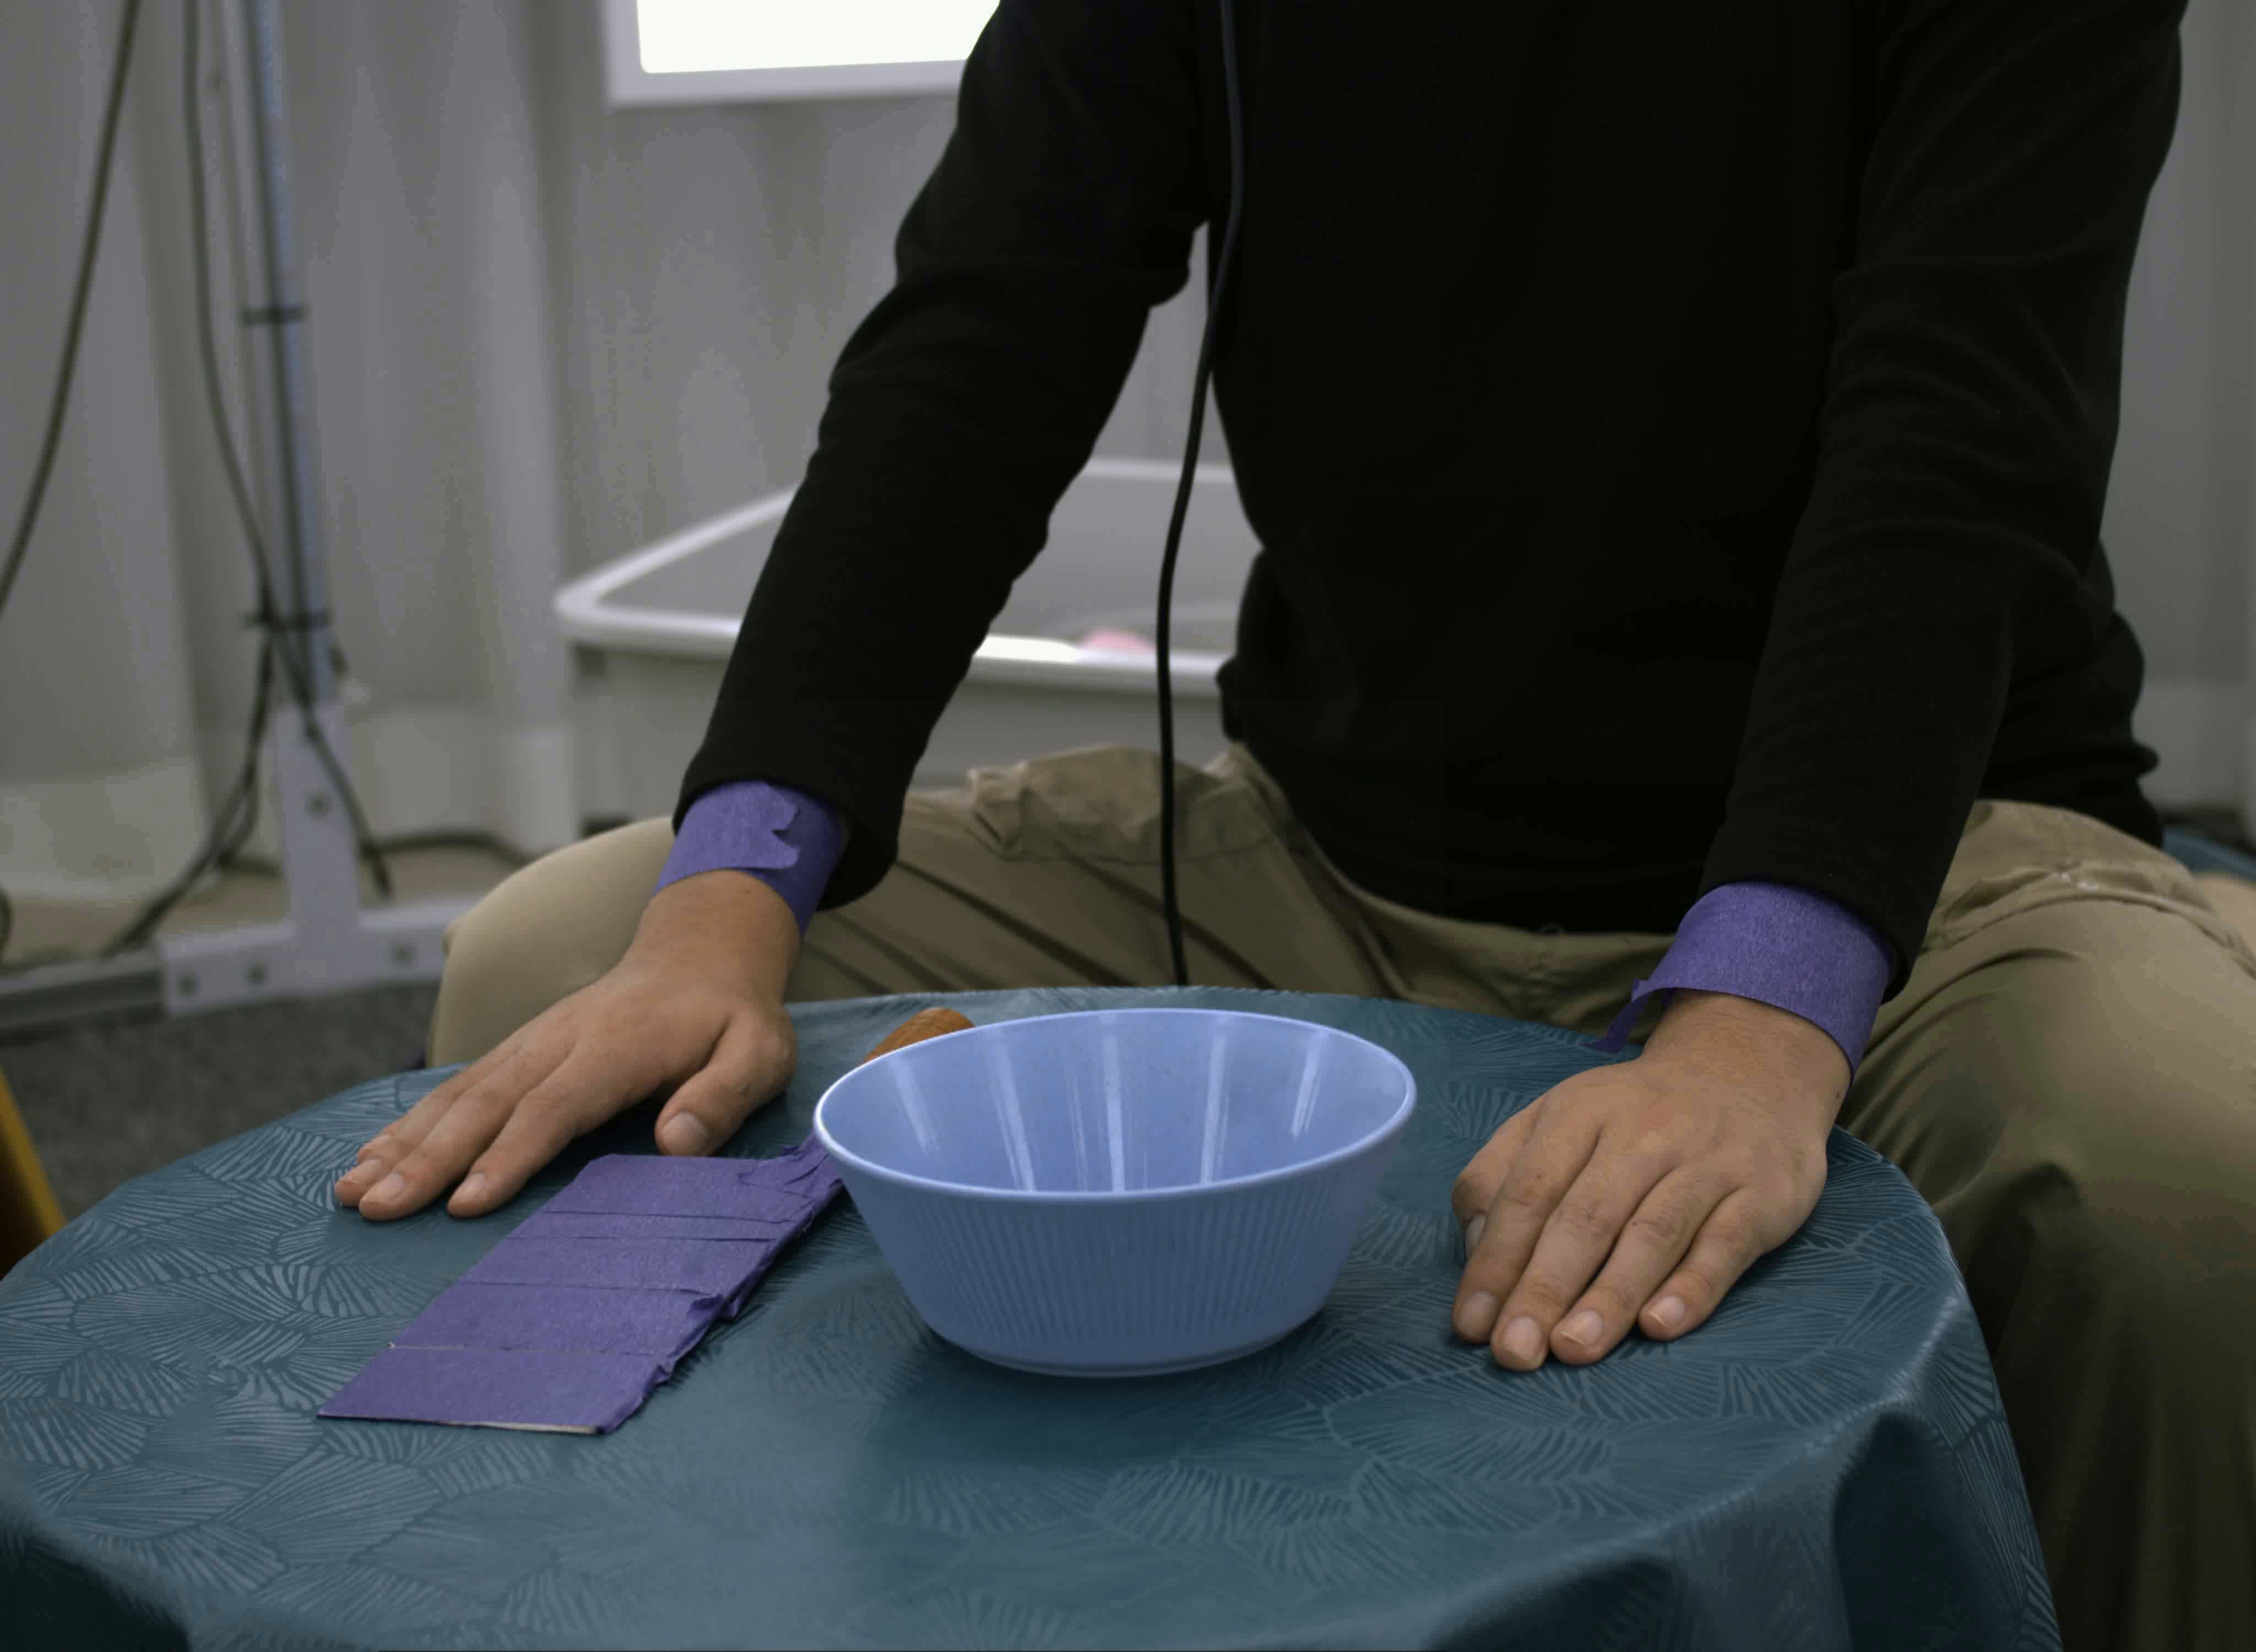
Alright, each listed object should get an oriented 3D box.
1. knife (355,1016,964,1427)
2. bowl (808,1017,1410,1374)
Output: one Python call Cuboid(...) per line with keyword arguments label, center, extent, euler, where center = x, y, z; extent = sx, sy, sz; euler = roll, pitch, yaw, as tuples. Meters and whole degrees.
Cuboid(label="knife", center=(-0.140, 0.118, 1.678), extent=(0.104, 0.032, 0.316), euler=(2, 16, 17))
Cuboid(label="bowl", center=(-0.005, 0.110, 1.596), extent=(0.175, 0.070, 0.177), euler=(-2, 14, 0))
